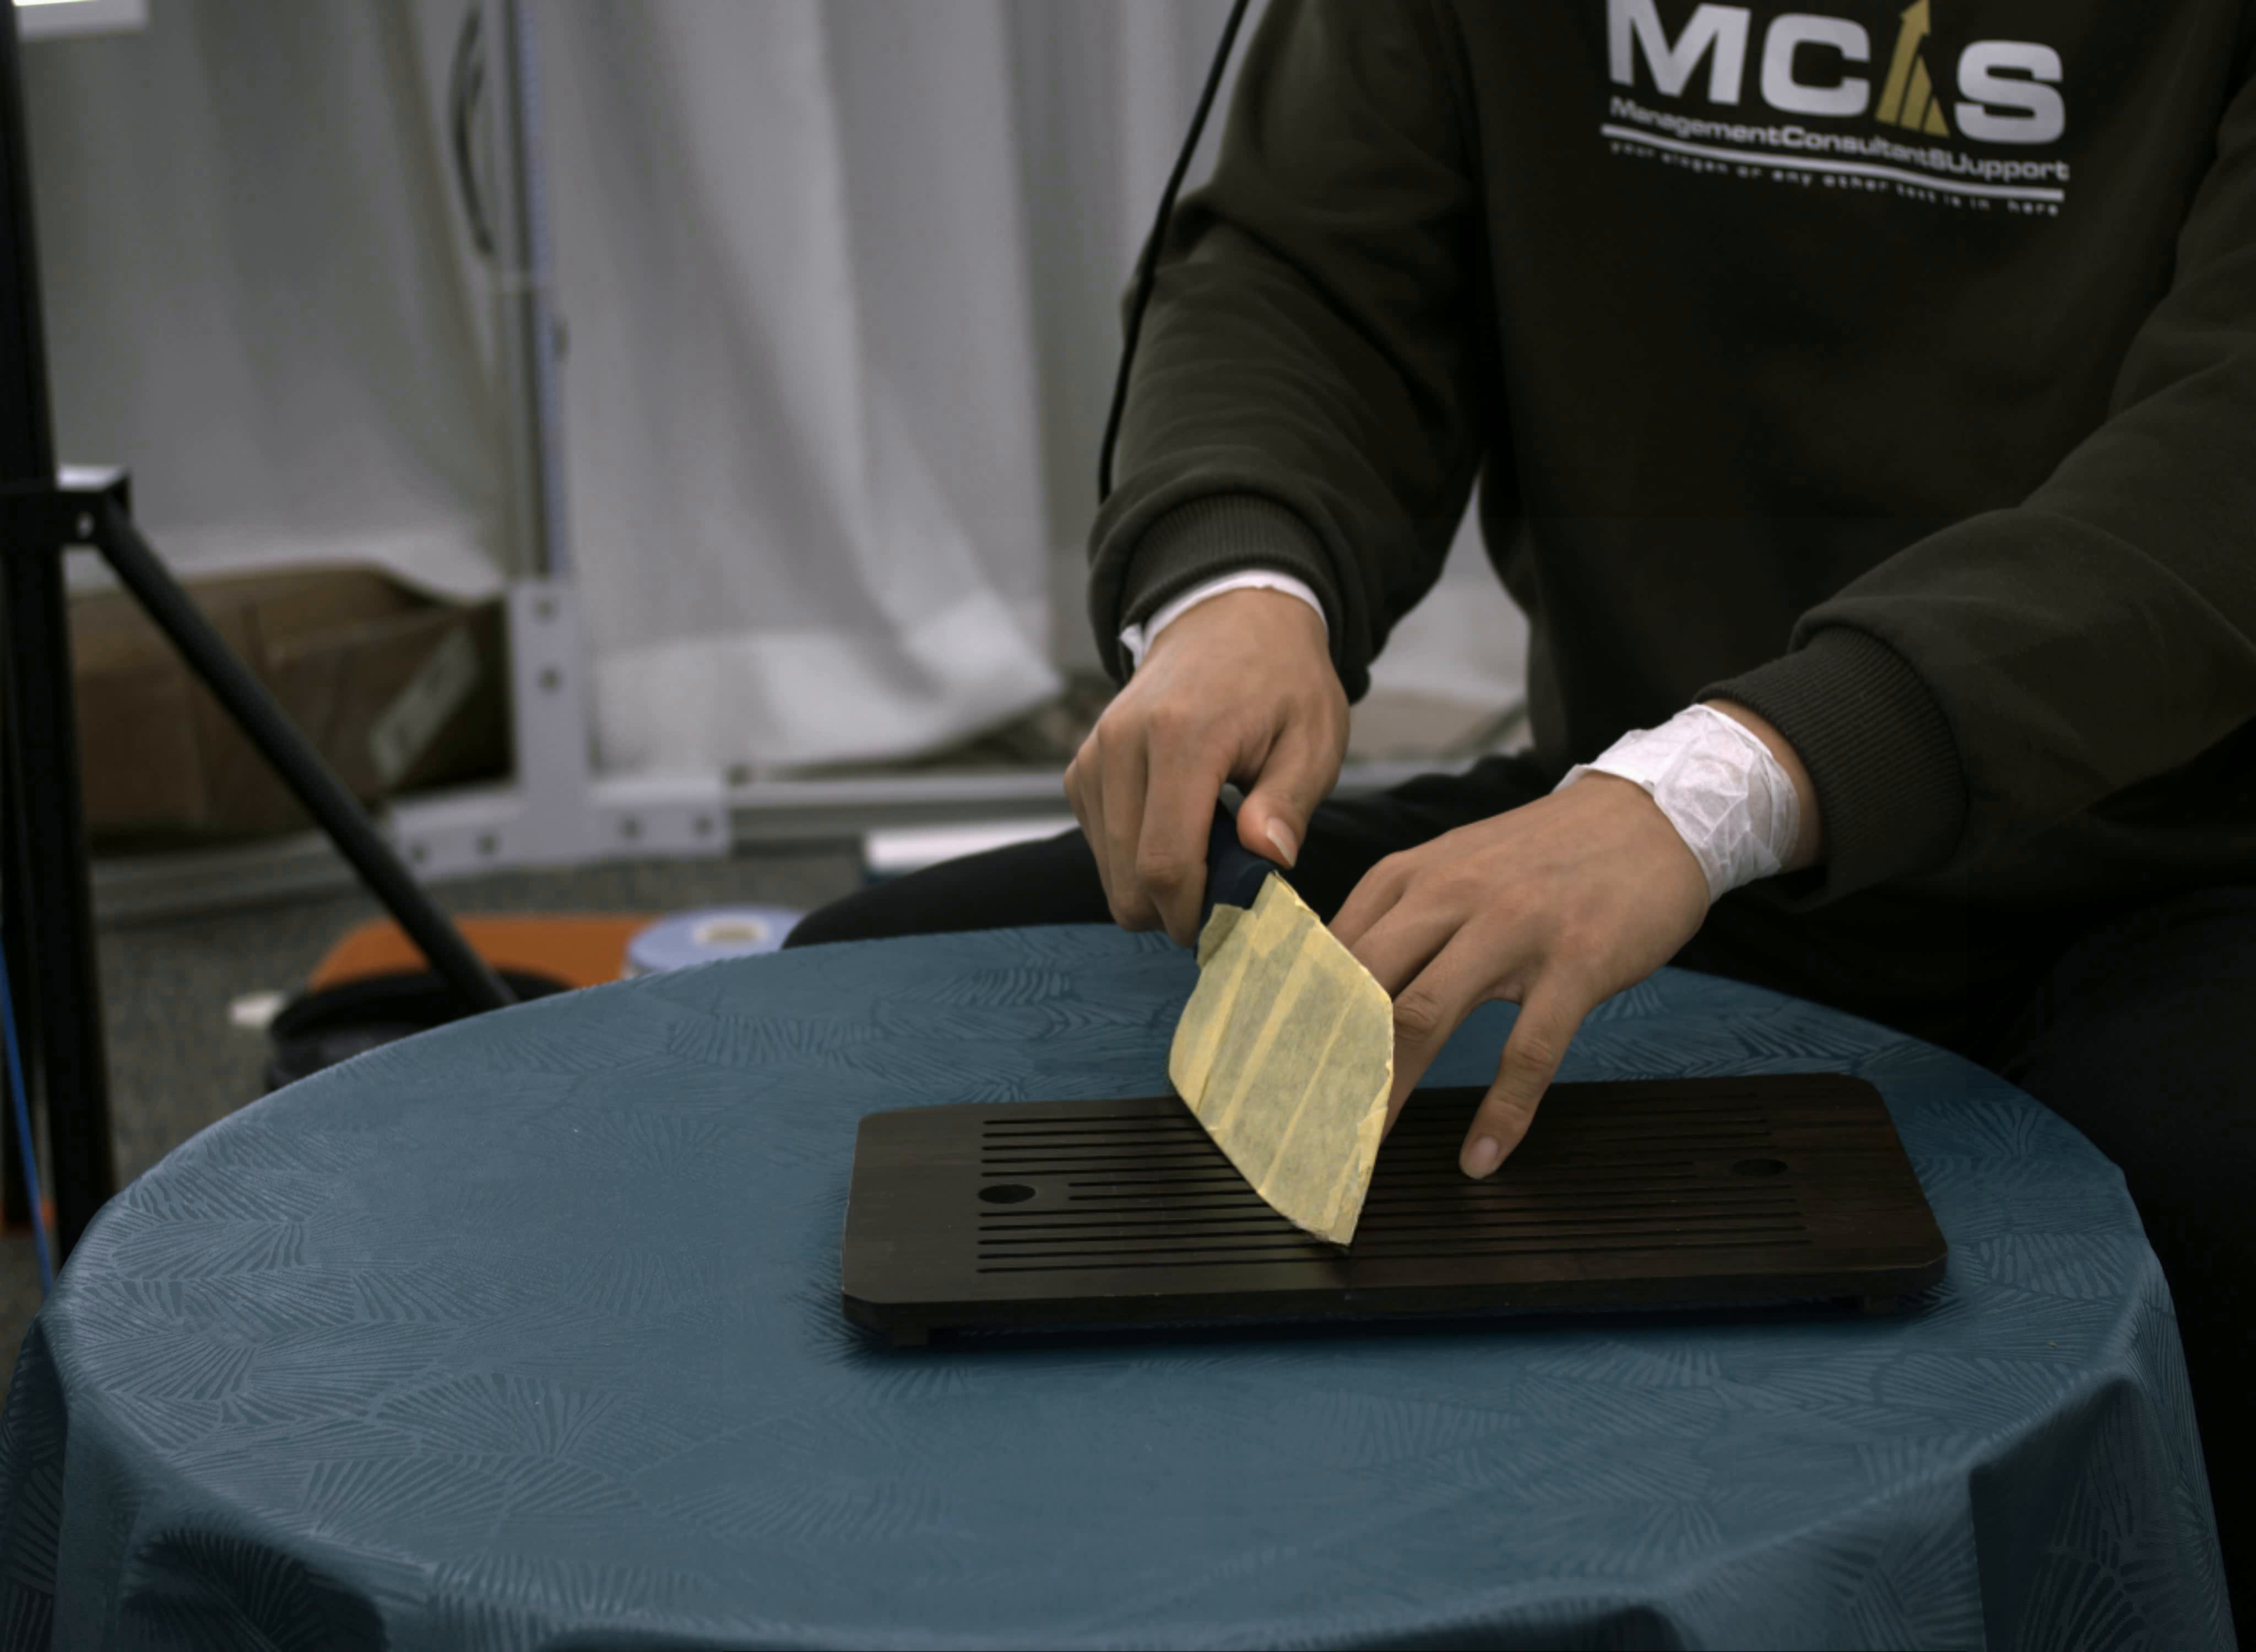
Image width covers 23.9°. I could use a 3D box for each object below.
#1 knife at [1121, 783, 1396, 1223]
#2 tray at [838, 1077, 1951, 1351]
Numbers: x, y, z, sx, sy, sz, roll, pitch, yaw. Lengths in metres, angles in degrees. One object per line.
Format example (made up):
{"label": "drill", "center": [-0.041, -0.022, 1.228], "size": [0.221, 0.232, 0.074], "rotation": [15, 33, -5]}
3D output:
{"label": "knife", "center": [0.033, 0.048, 1.576], "size": [0.027, 0.081, 0.293], "rotation": [25, 12, -19]}
{"label": "tray", "center": [0.072, 0.110, 1.509], "size": [0.305, 0.018, 0.170], "rotation": [-2, 15, 2]}
